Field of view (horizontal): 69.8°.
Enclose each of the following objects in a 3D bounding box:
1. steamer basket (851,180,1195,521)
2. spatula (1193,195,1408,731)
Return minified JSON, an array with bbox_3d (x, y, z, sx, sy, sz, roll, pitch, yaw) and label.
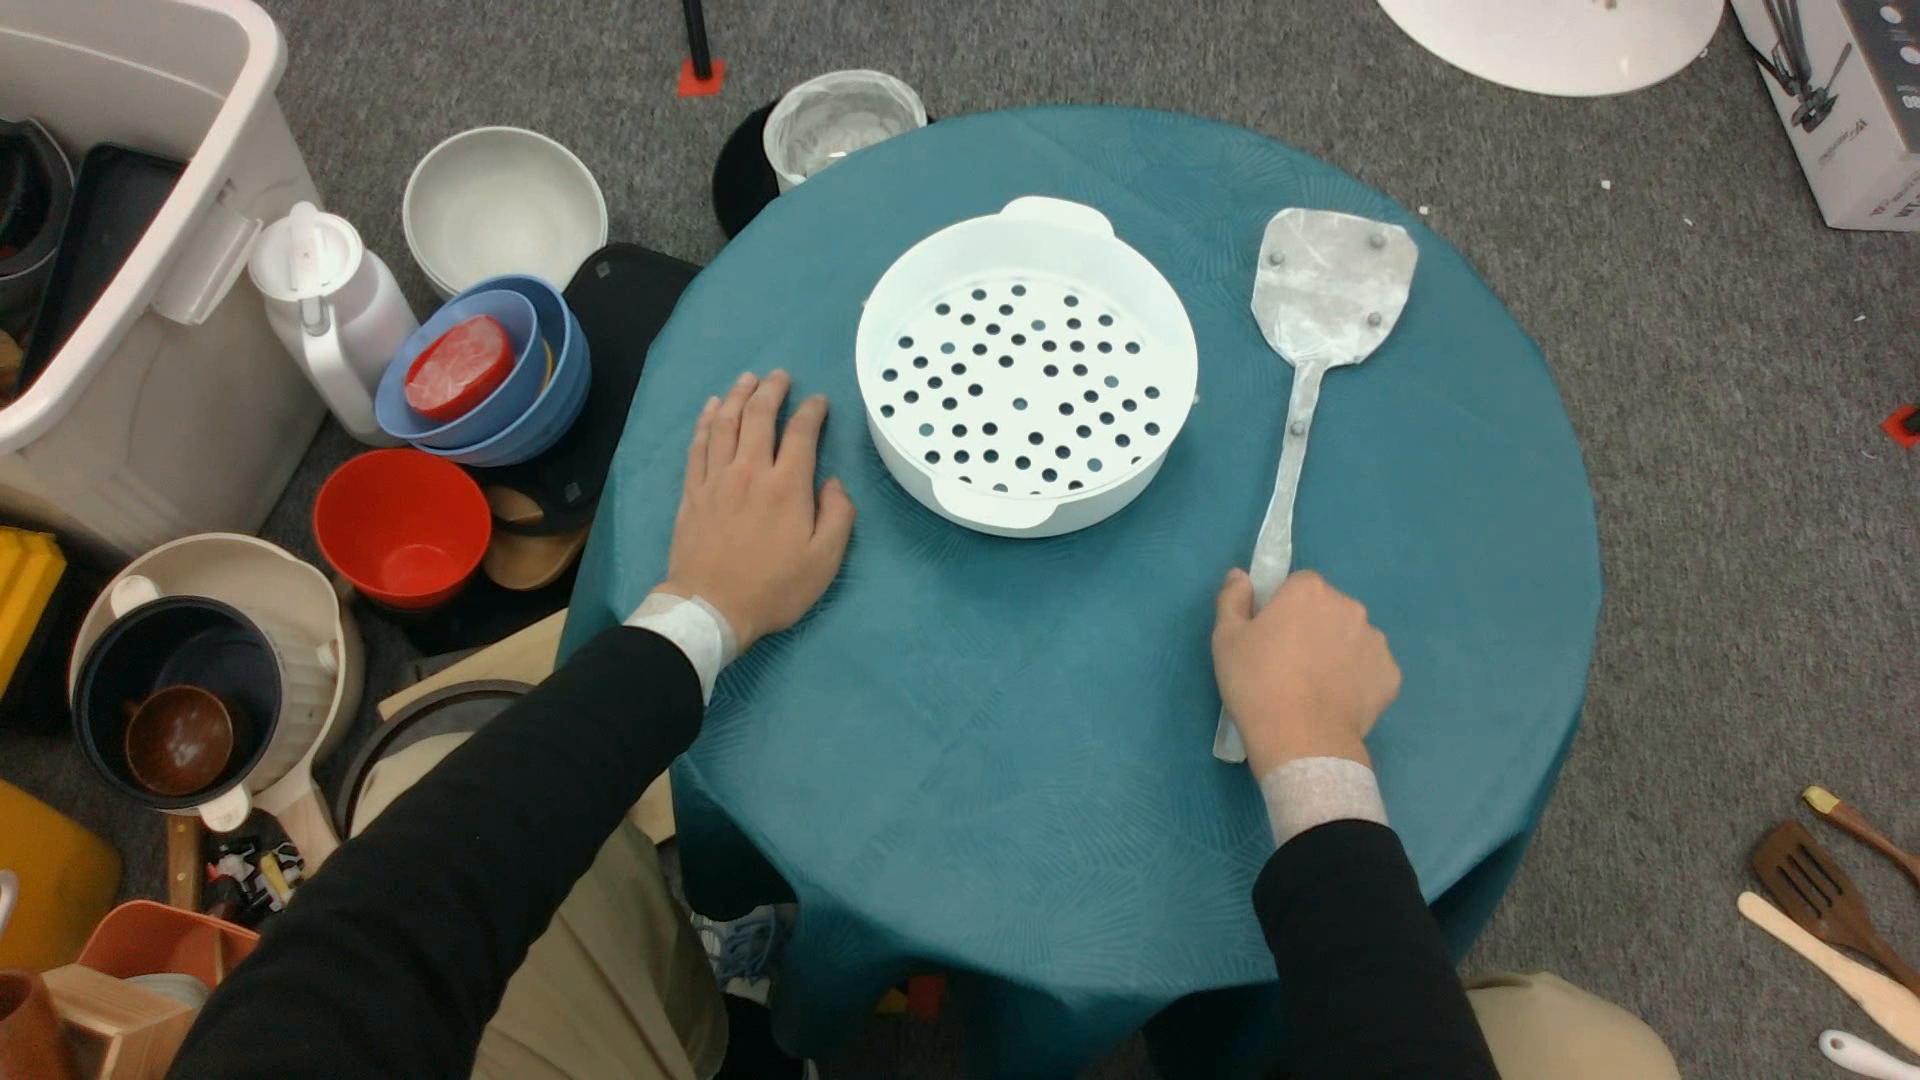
[{"bbox_3d":[0.037,-0.108,0.833,0.202,0.069,0.231,12,65,4],"label":"steamer basket"},{"bbox_3d":[0.193,-0.055,0.830,0.098,0.044,0.366,15,64,7],"label":"spatula"}]
